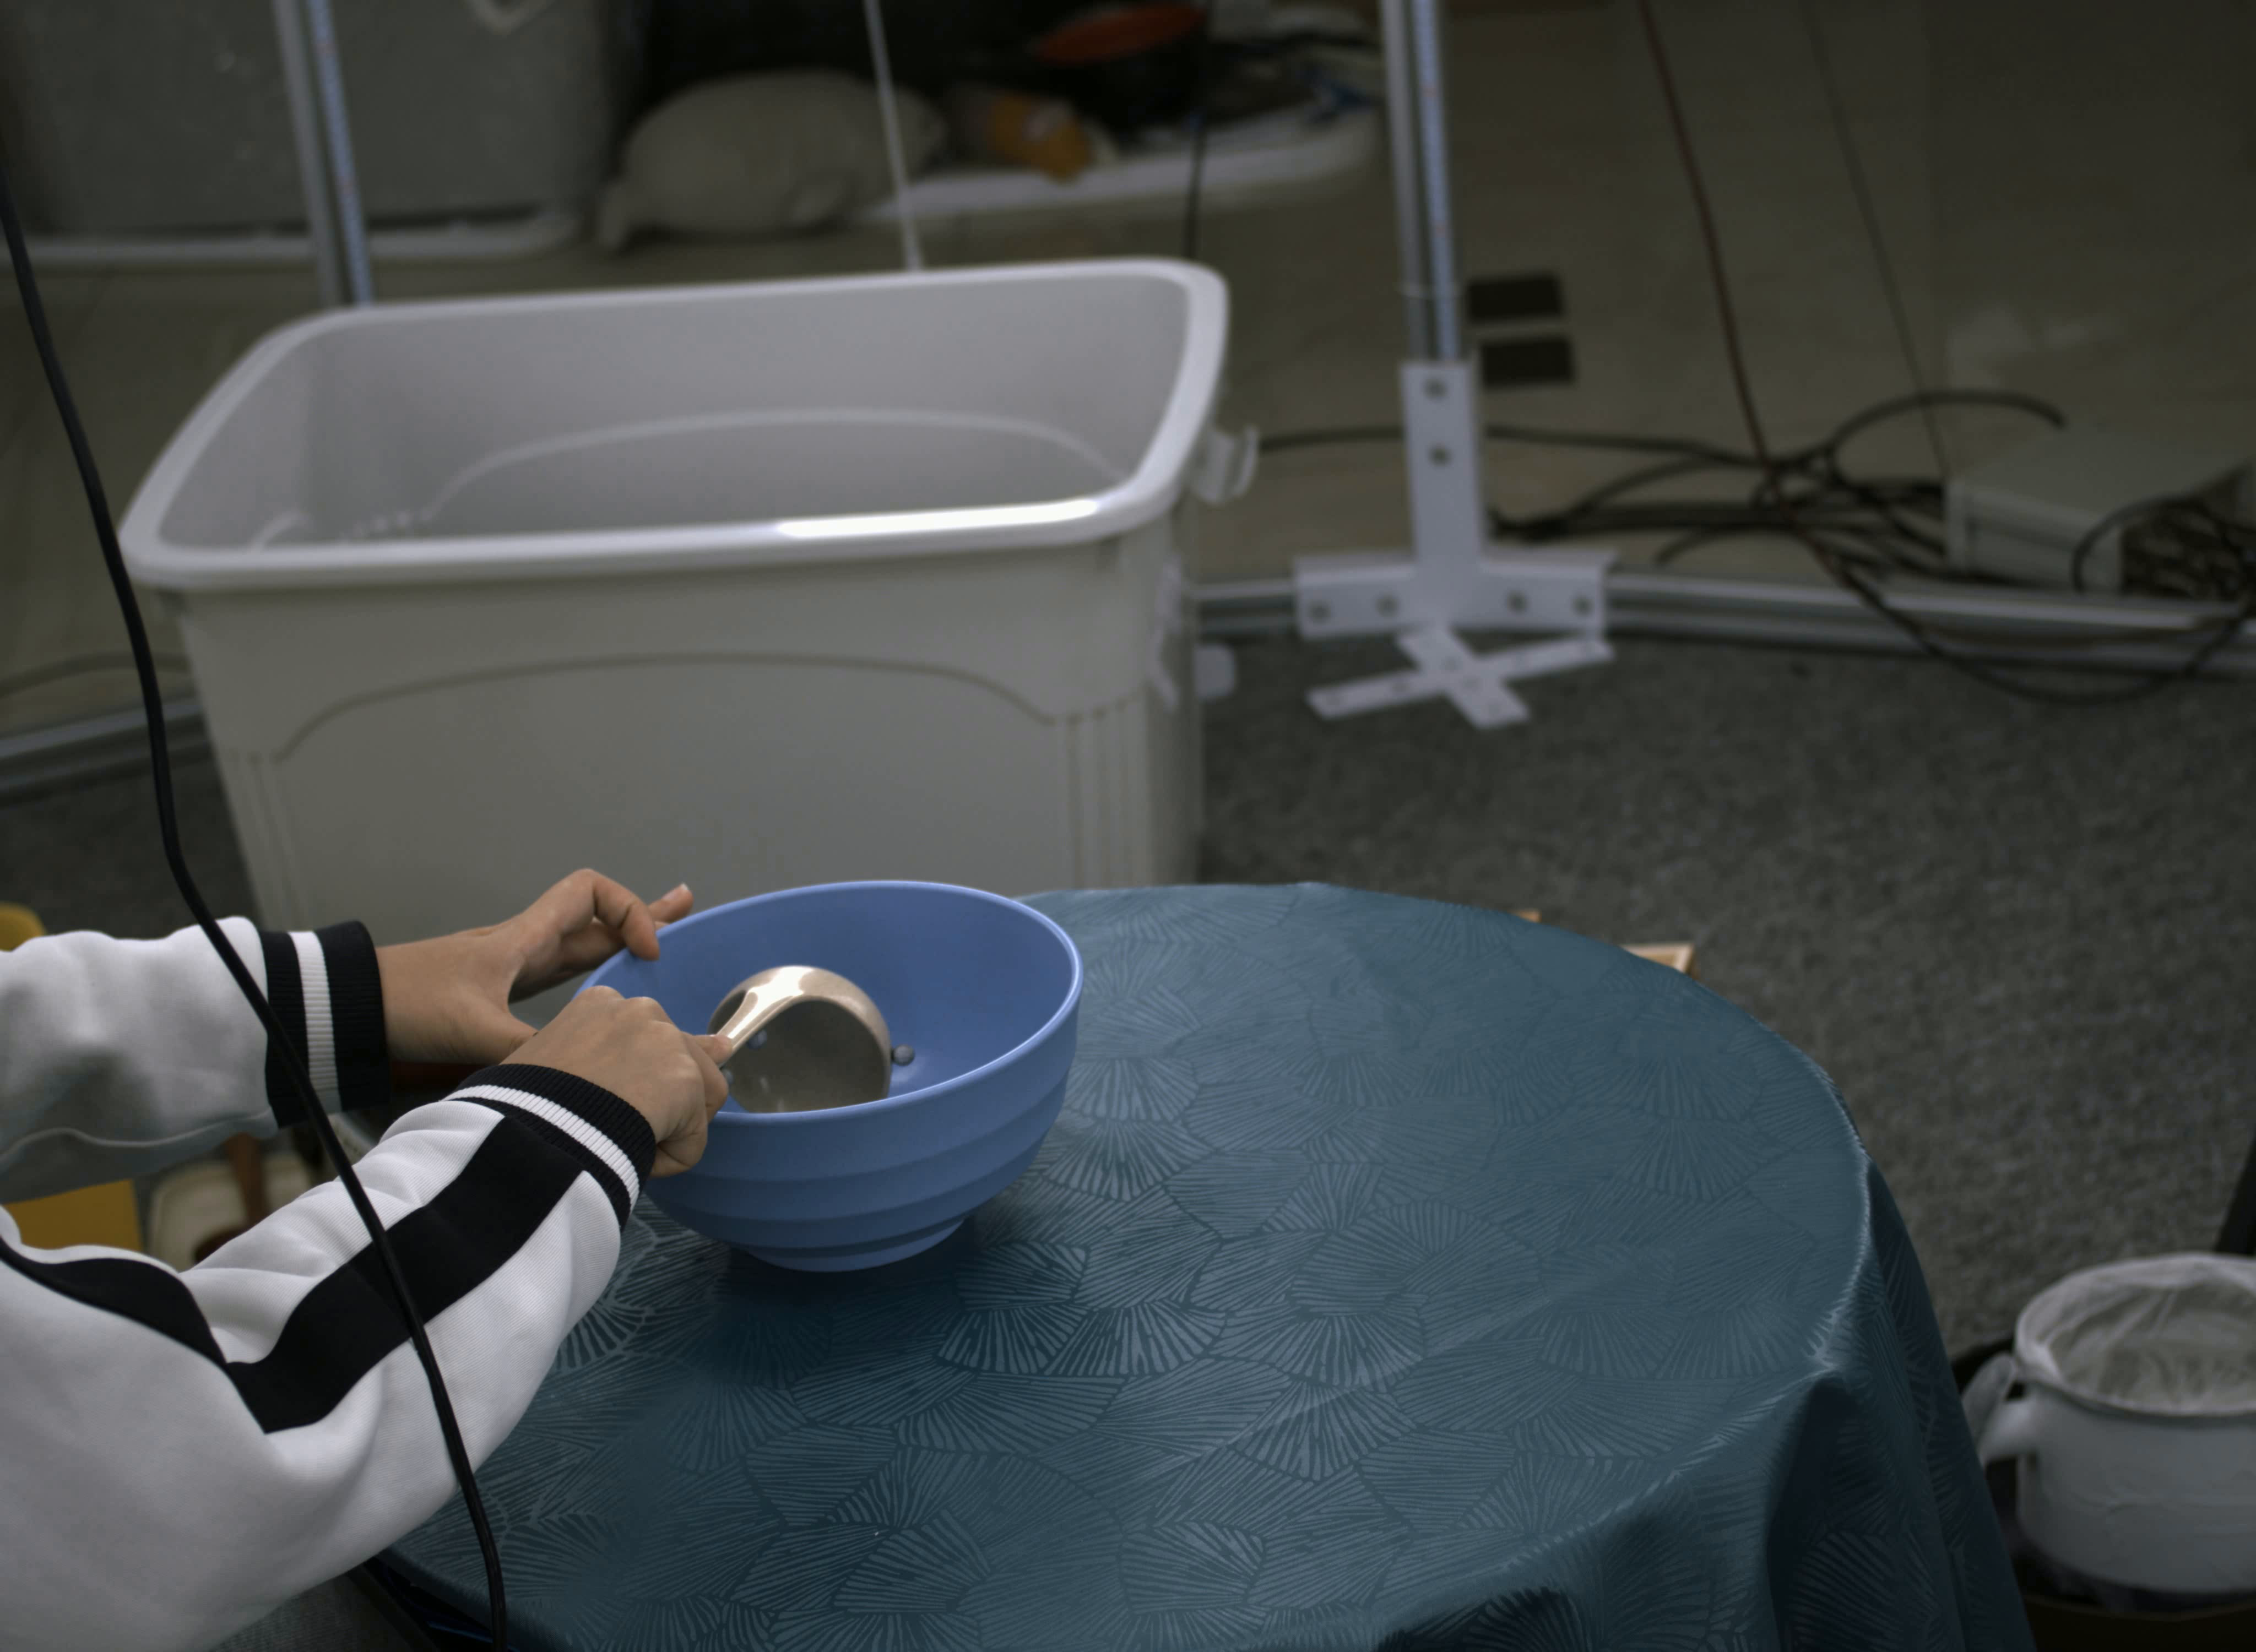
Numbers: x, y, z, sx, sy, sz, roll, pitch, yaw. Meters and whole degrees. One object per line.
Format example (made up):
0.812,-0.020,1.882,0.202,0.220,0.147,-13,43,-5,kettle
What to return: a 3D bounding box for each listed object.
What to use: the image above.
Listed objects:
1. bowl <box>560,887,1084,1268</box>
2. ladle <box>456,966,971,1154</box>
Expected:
-0.111,0.104,2.134,0.196,0.097,0.194,-4,23,2,bowl
-0.143,0.108,2.039,0.072,0.073,0.252,51,31,10,ladle
